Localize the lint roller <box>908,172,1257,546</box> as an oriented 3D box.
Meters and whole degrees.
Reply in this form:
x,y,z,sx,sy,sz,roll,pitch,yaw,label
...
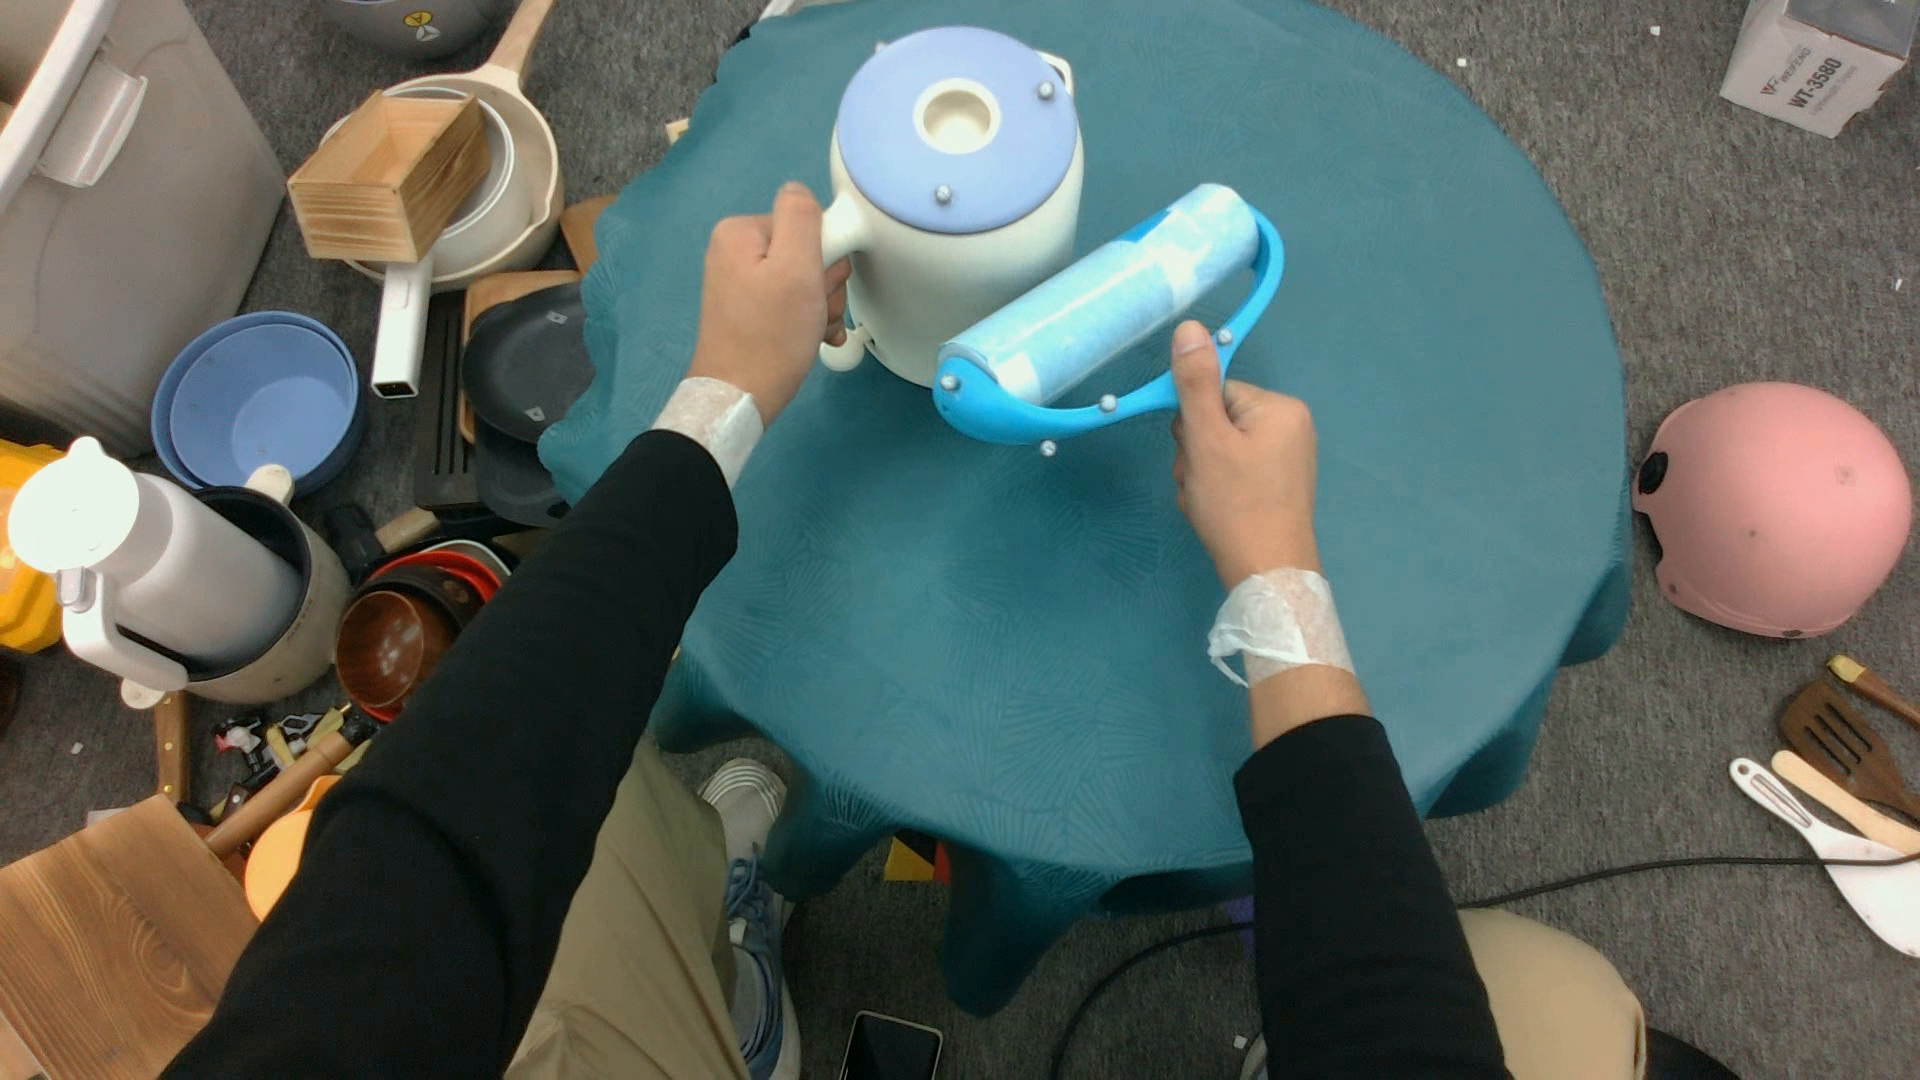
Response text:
x,y,z,sx,sy,sz,roll,pitch,yaw,label
0.098,-0.081,0.718,0.230,0.067,0.180,-39,95,-30,lint roller

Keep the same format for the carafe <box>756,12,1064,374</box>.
x,y,z,sx,sy,sz,roll,pitch,yaw,label
-0.031,-0.169,0.749,0.191,0.182,0.132,-37,74,-11,carafe
